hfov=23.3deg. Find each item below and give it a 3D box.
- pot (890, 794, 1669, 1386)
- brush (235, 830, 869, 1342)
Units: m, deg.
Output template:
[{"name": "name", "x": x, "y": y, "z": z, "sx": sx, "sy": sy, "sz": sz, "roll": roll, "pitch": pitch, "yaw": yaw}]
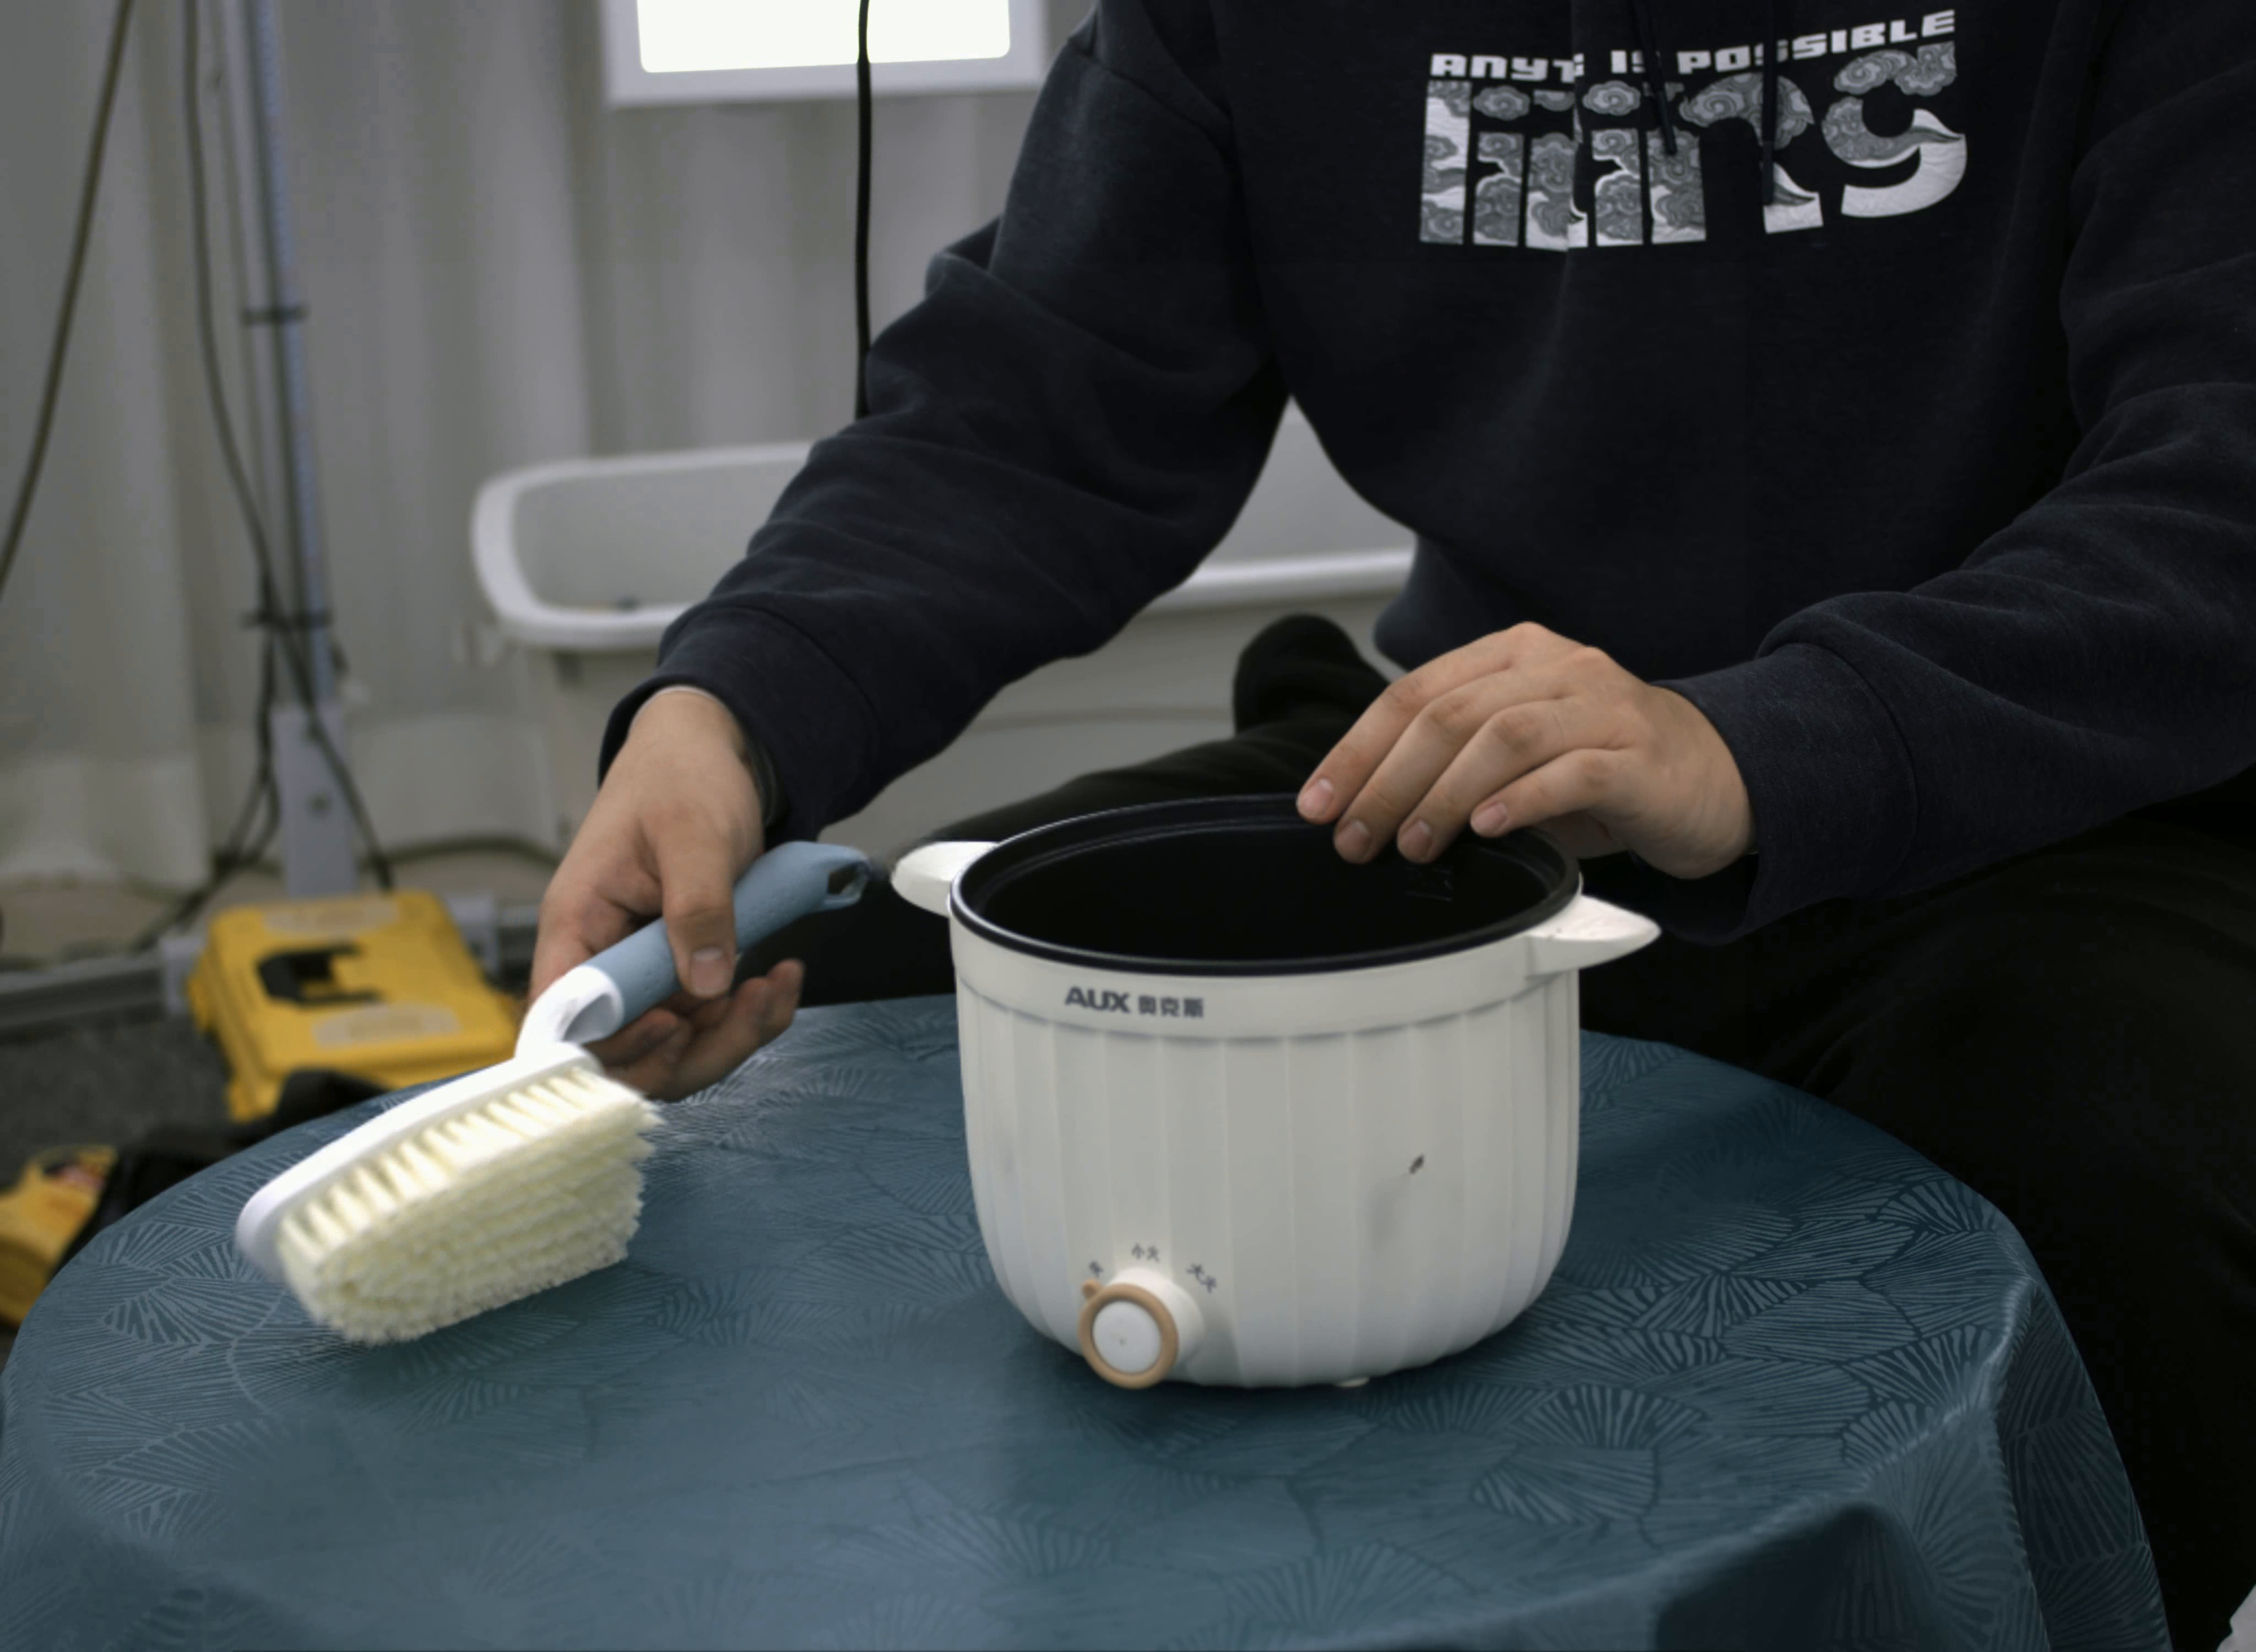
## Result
[{"name": "pot", "x": 0.041, "y": 0.079, "z": 1.576, "sx": 0.241, "sy": 0.142, "sz": 0.190, "roll": 4, "pitch": 13, "yaw": 26}, {"name": "brush", "x": -0.149, "y": 0.075, "z": 1.710, "sx": 0.082, "sy": 0.085, "sz": 0.326, "roll": -37, "pitch": -2, "yaw": 38}]
